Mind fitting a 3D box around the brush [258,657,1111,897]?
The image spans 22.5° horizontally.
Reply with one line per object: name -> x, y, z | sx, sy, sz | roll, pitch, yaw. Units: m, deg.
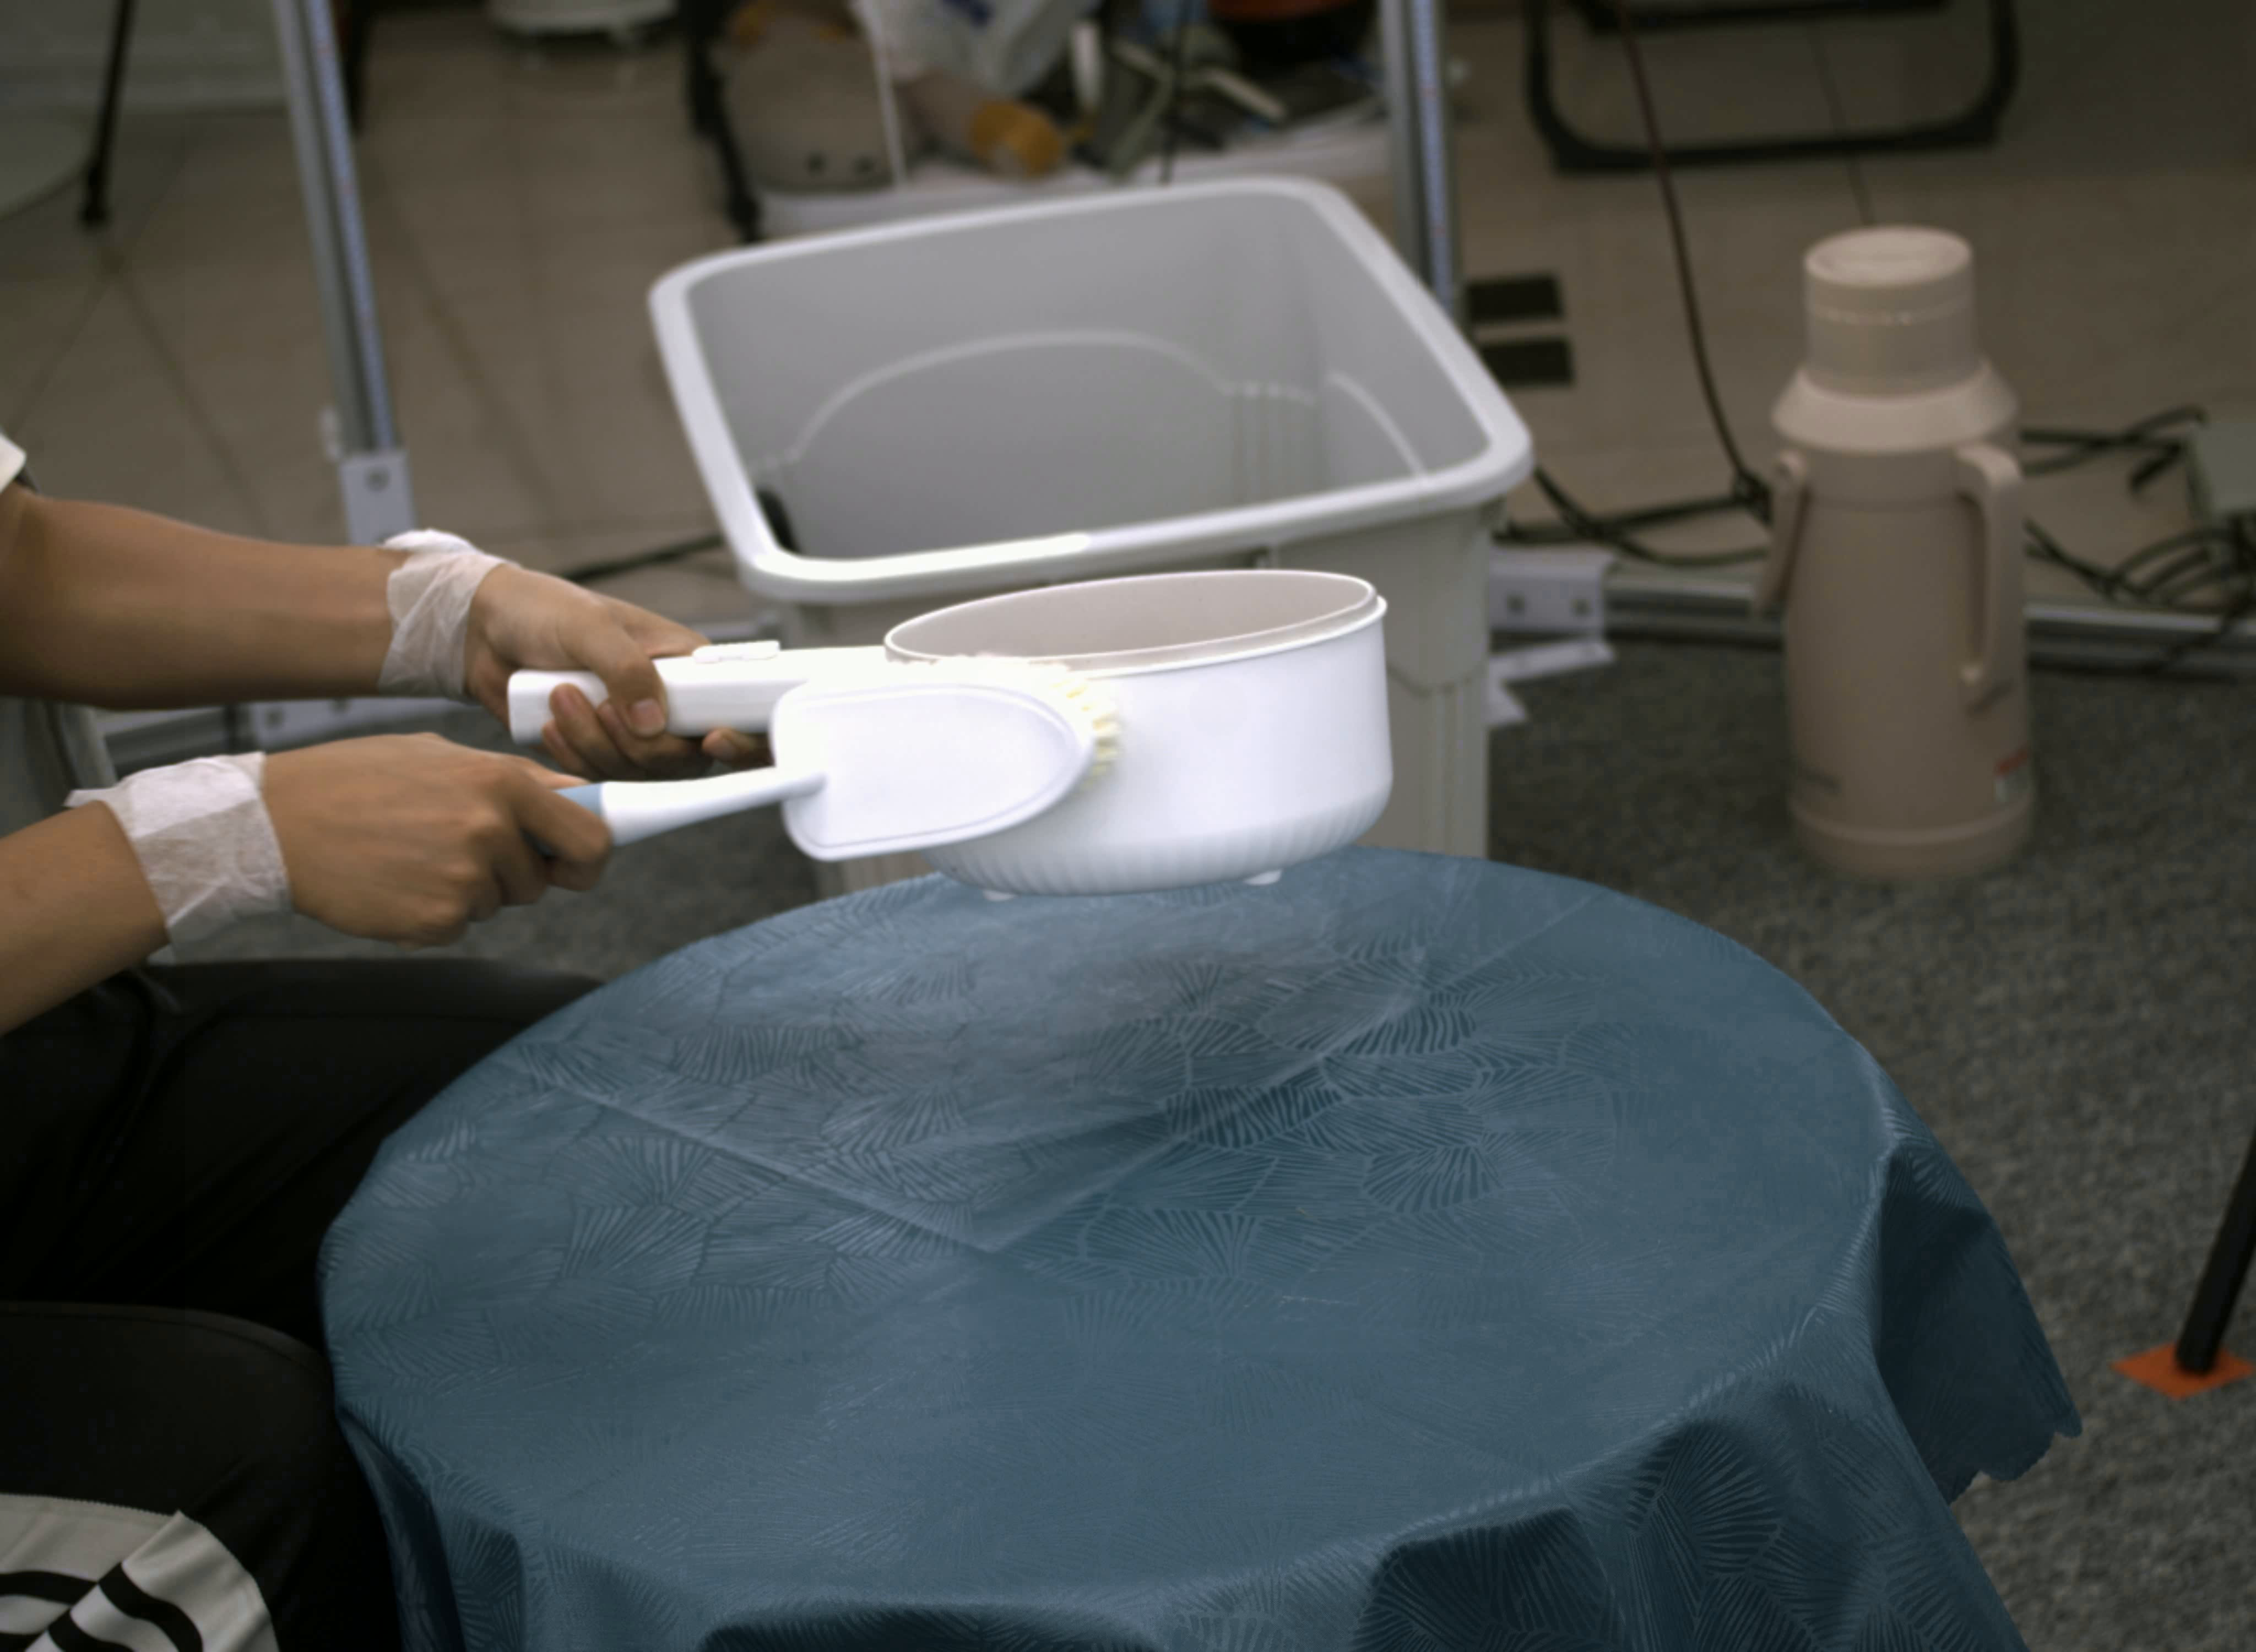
brush -> -0.166, -0.017, 2.139 | 0.325, 0.086, 0.082 | -9, 61, 7

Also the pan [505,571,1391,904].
pan -> -0.070, -0.028, 2.246 | 0.354, 0.103, 0.199 | -4, 12, 12
